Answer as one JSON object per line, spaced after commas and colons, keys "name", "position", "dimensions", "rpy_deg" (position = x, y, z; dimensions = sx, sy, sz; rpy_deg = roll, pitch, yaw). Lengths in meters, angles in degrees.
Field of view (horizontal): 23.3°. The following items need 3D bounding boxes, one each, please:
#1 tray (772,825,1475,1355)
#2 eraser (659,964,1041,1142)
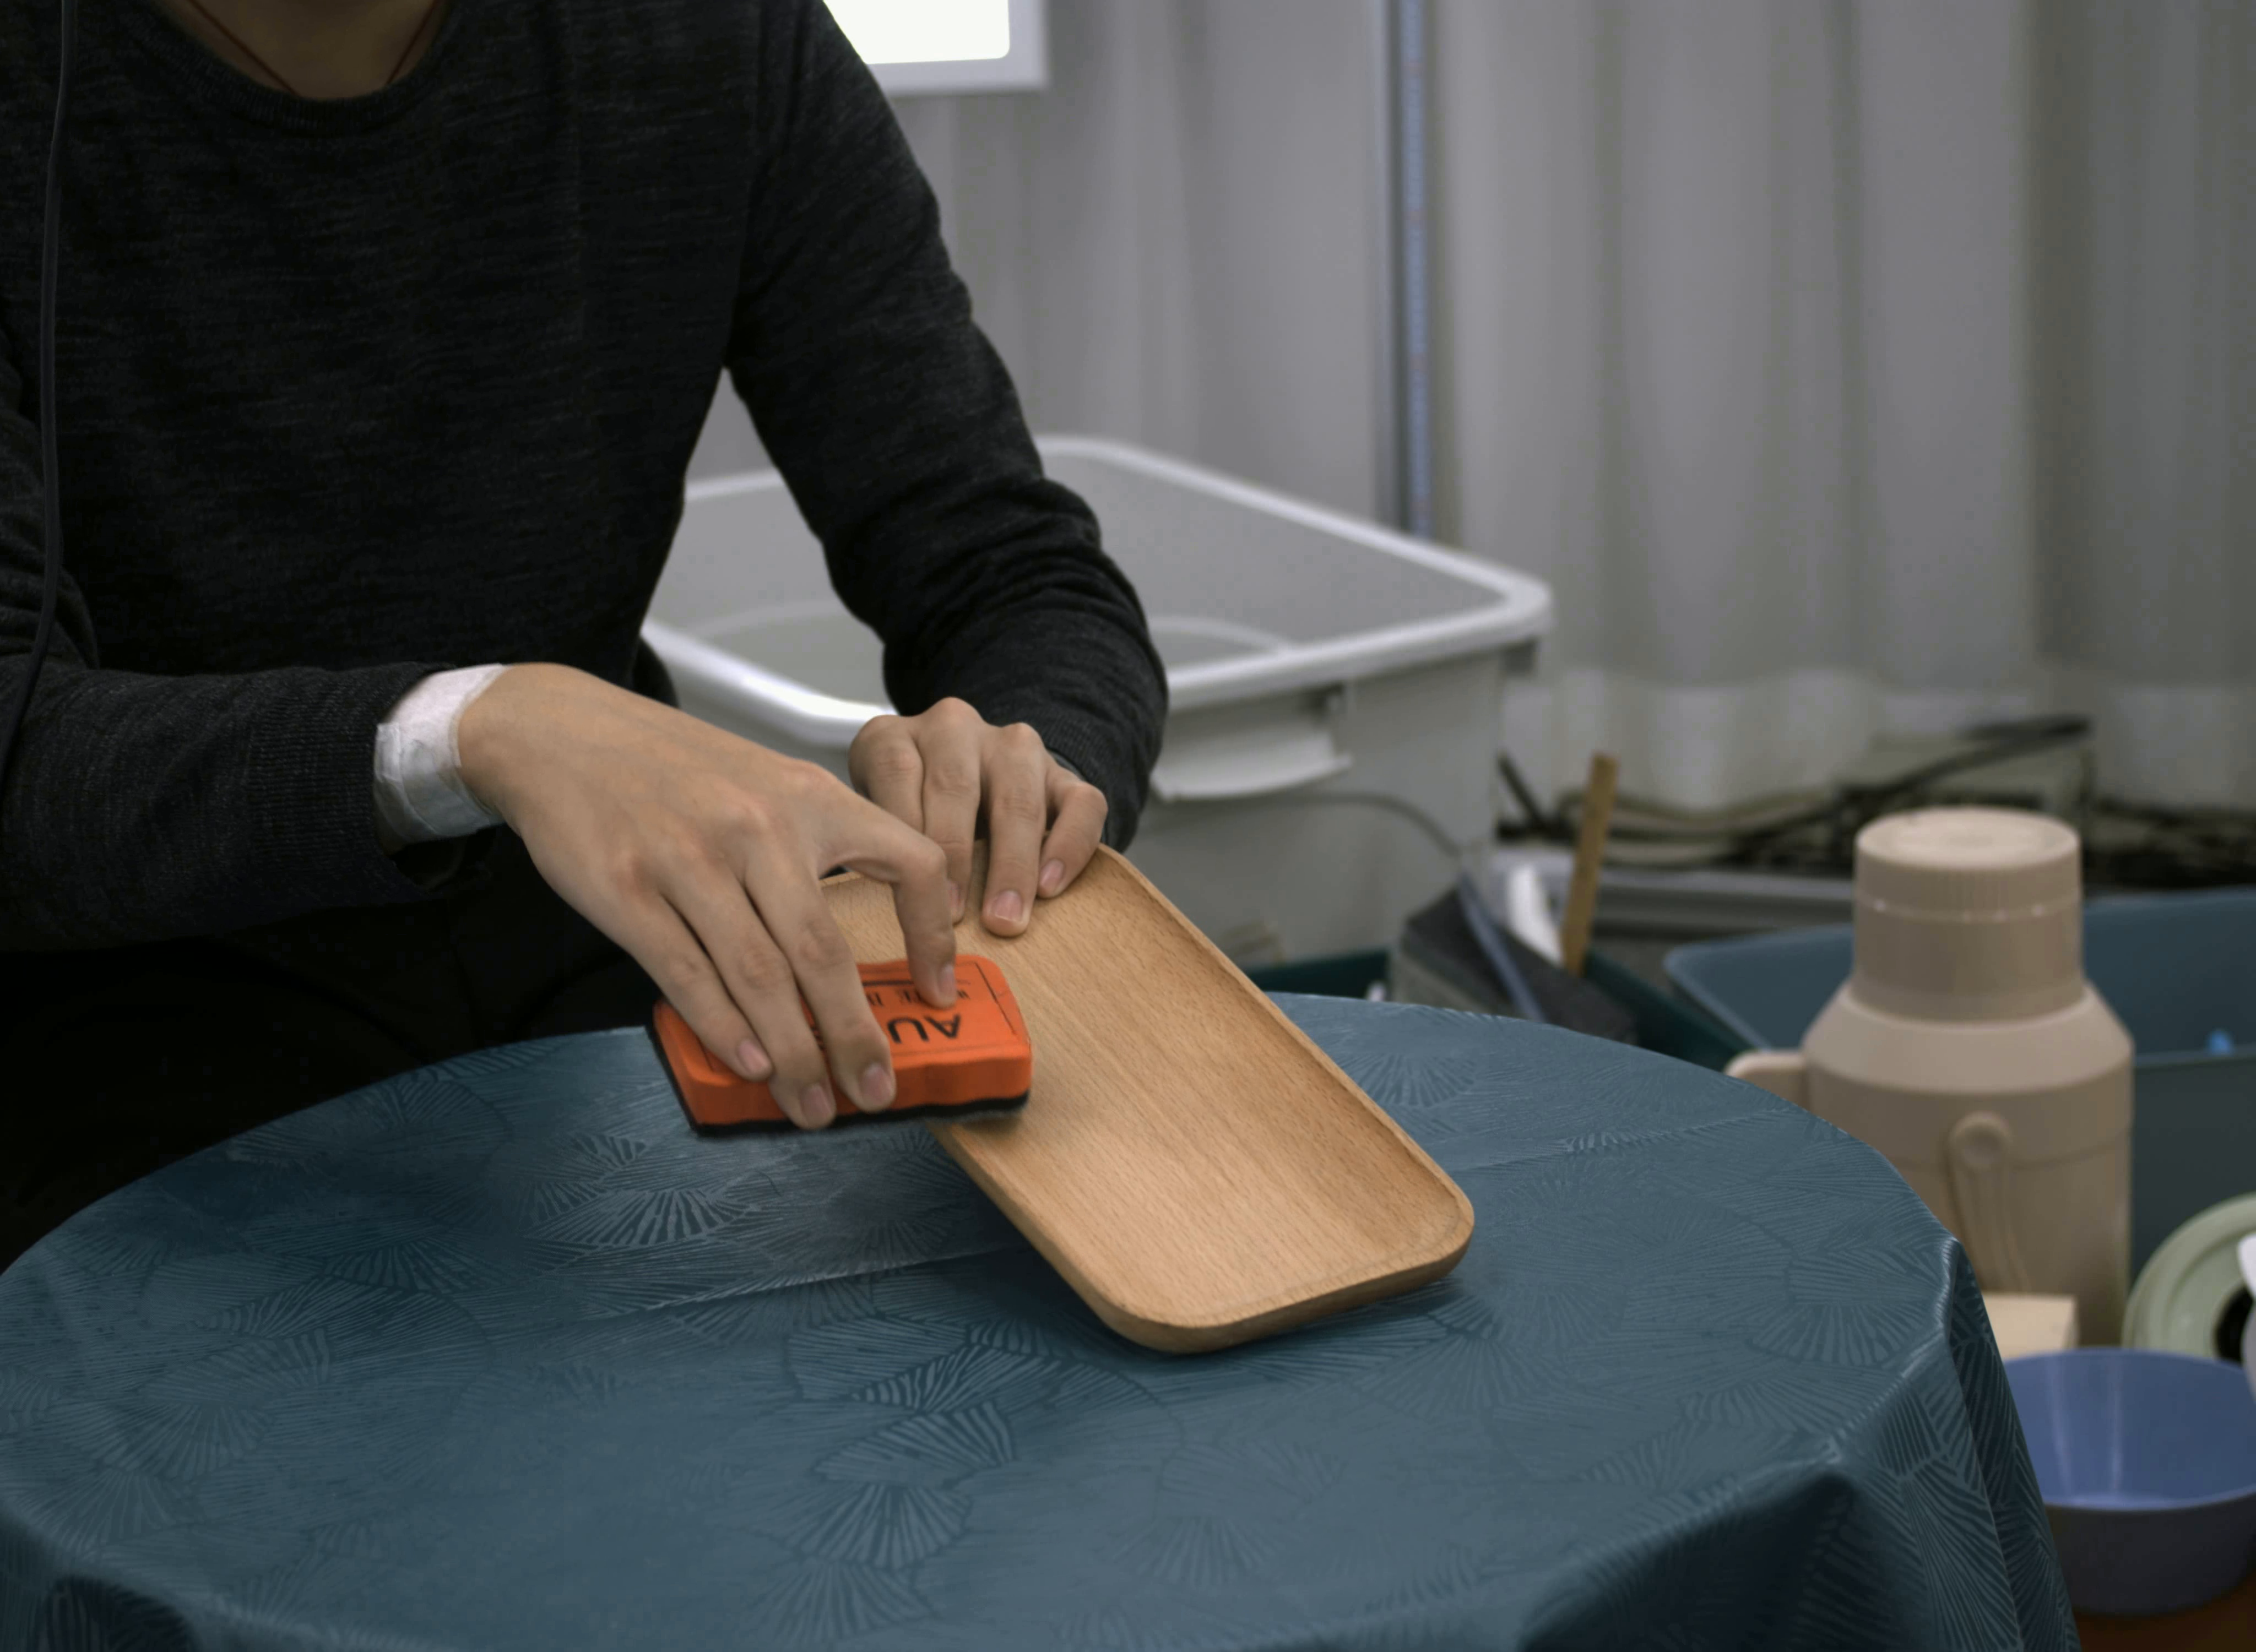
{"name": "tray", "position": [-0.005, 0.077, 1.670], "dimensions": [0.130, 0.022, 0.254], "rpy_deg": [-11, 35, -29]}
{"name": "eraser", "position": [-0.083, 0.067, 1.639], "dimensions": [0.107, 0.022, 0.060], "rpy_deg": [-4, 29, -16]}
